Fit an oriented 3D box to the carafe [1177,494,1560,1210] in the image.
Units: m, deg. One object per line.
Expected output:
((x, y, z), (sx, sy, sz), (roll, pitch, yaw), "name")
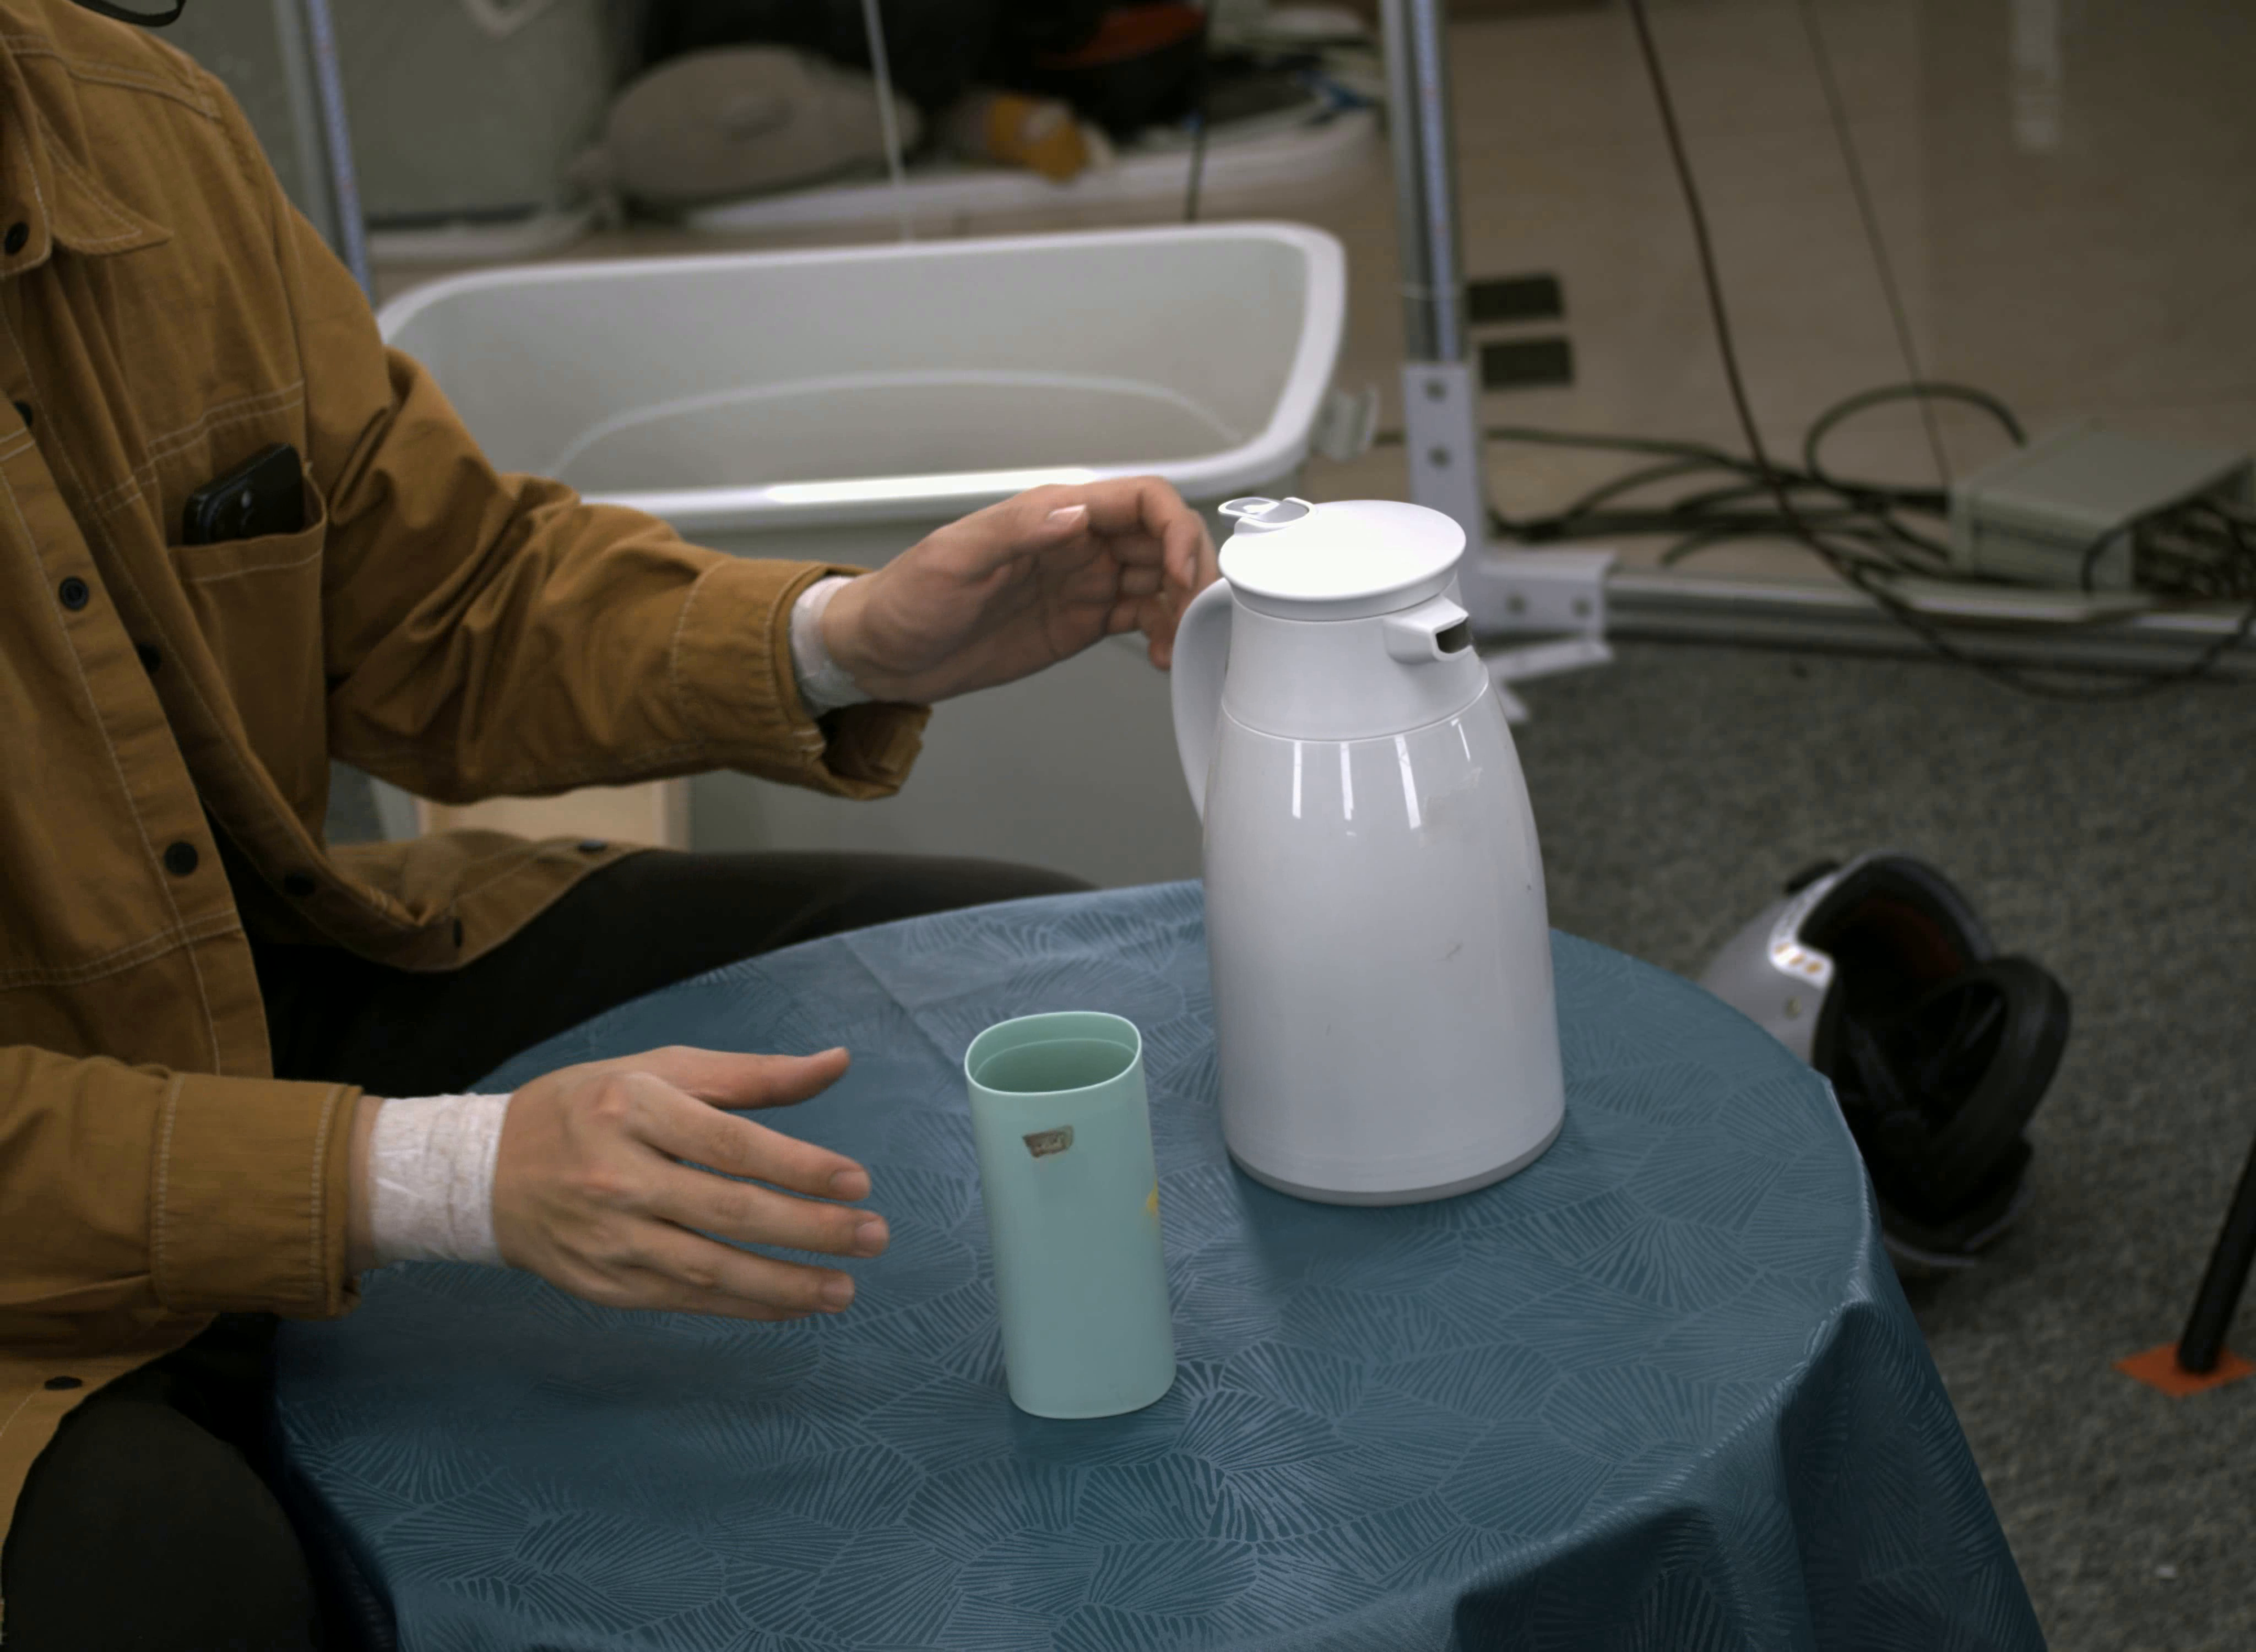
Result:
((0.078, 0.000, 2.136), (0.131, 0.252, 0.166), (-22, 29, -31), "carafe")

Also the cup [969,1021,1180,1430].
((-0.020, 0.141, 2.003), (0.066, 0.134, 0.066), (-5, 25, 2), "cup")
